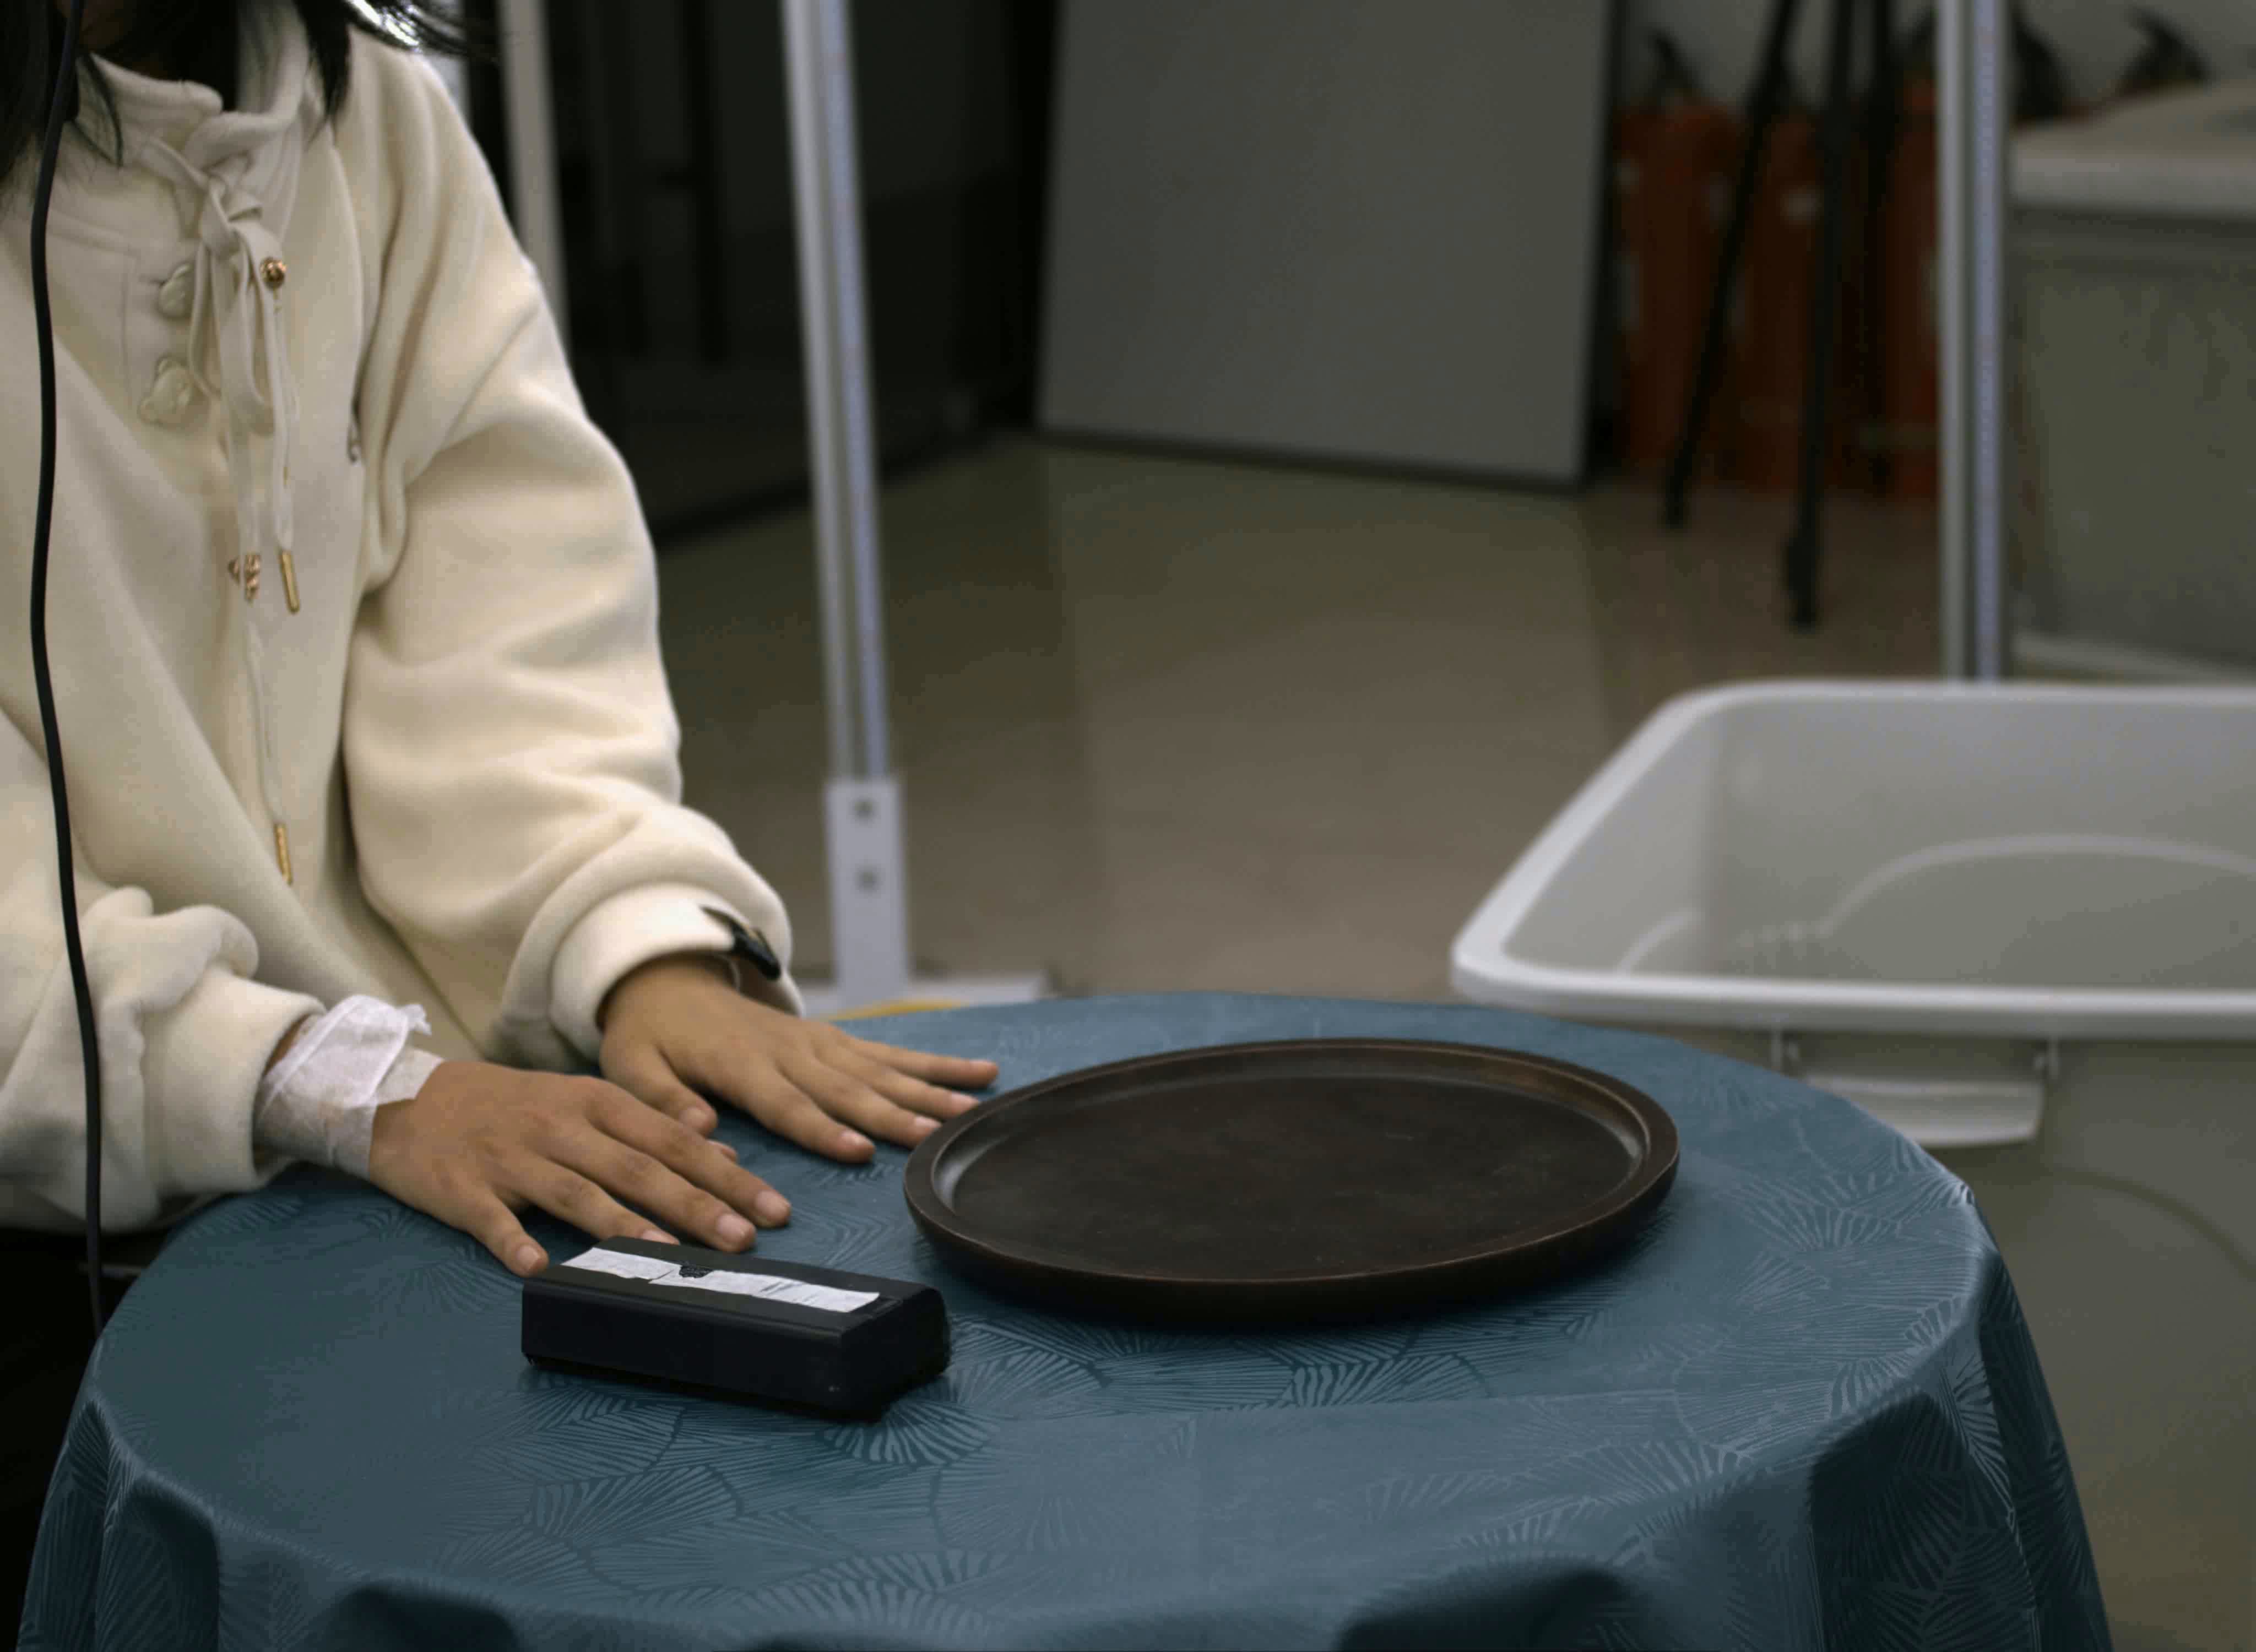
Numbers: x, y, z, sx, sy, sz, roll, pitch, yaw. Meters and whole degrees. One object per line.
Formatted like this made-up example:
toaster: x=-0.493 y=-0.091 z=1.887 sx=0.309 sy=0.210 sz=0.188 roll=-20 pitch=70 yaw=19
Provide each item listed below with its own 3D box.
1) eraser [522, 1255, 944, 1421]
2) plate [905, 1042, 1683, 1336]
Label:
eraser: x=-0.118 y=0.153 z=1.622 sx=0.126 sy=0.031 sz=0.052 roll=3 pitch=13 yaw=35
plate: x=0.053 y=0.114 z=1.733 sx=0.251 sy=0.029 sz=0.255 roll=-3 pitch=15 yaw=0
